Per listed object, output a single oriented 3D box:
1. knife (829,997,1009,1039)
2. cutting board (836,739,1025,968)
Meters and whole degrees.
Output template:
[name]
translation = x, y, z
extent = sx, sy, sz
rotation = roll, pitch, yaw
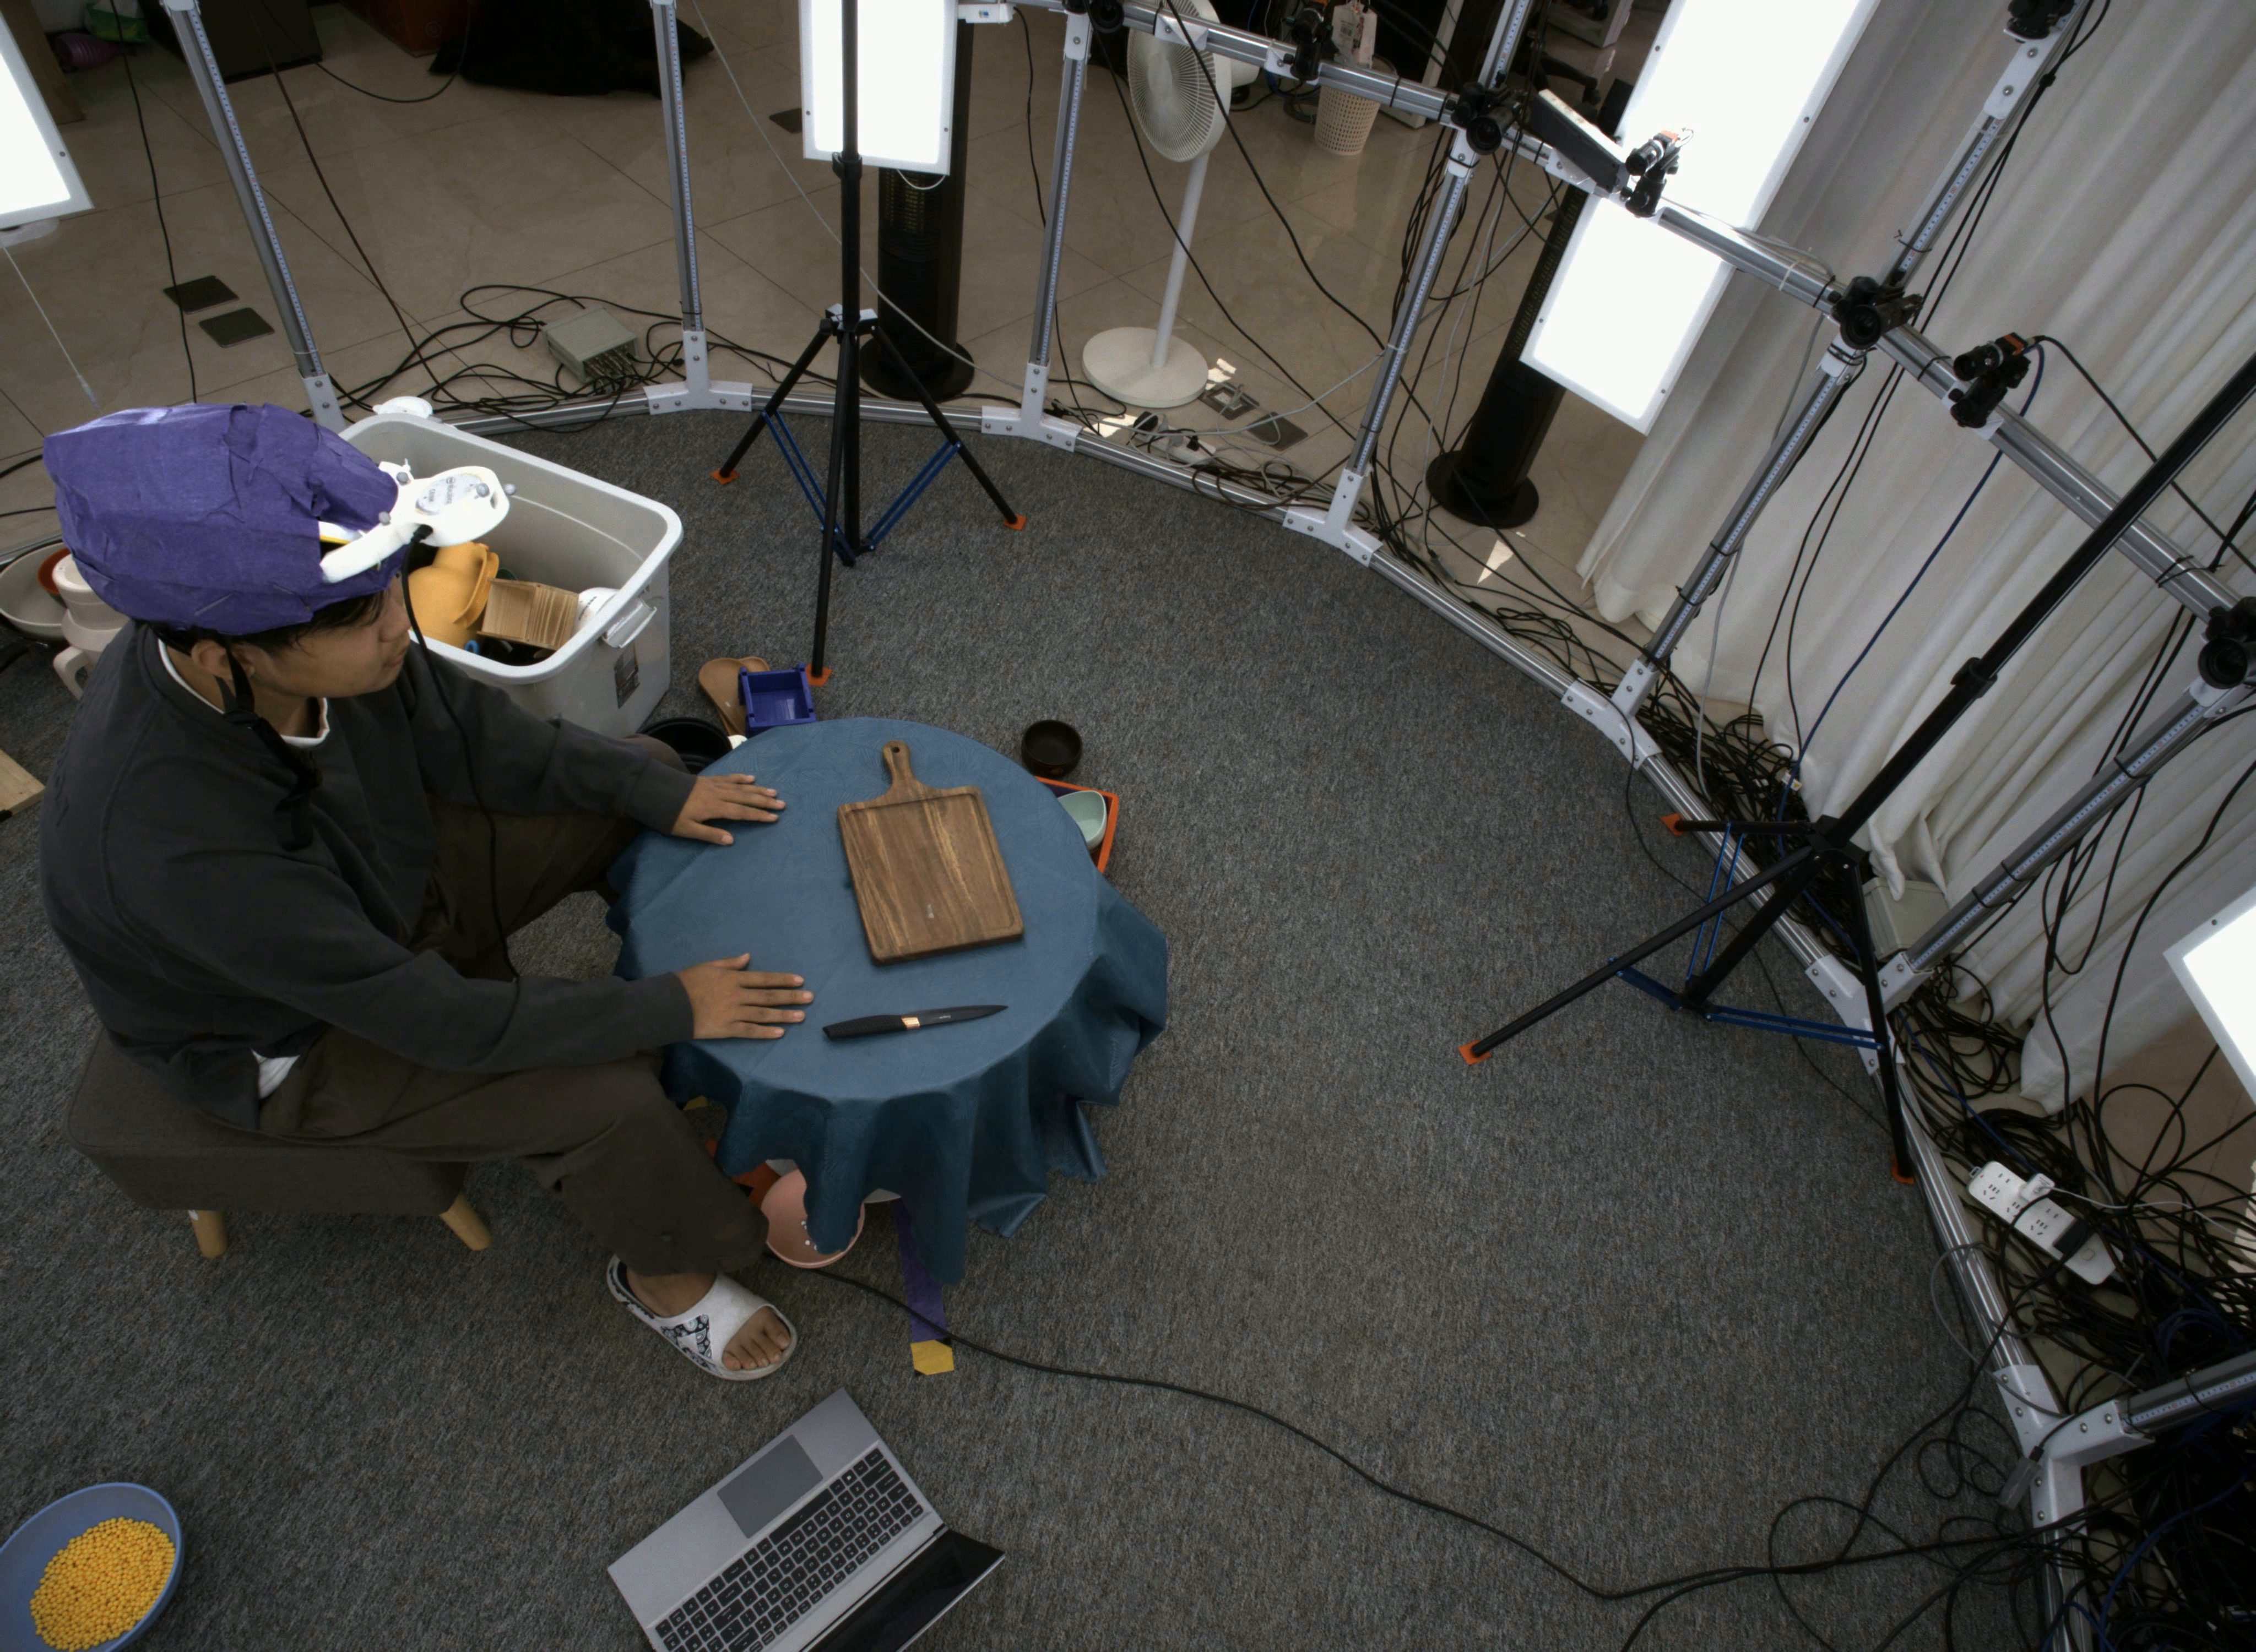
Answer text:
[knife]
translation = -0.252, 0.230, 1.584
extent = 0.226, 0.017, 0.025
rotation = -7, 50, -20
[cutting board]
translation = -0.276, 0.020, 1.729
extent = 0.202, 0.023, 0.343
rotation = -9, 57, -20
